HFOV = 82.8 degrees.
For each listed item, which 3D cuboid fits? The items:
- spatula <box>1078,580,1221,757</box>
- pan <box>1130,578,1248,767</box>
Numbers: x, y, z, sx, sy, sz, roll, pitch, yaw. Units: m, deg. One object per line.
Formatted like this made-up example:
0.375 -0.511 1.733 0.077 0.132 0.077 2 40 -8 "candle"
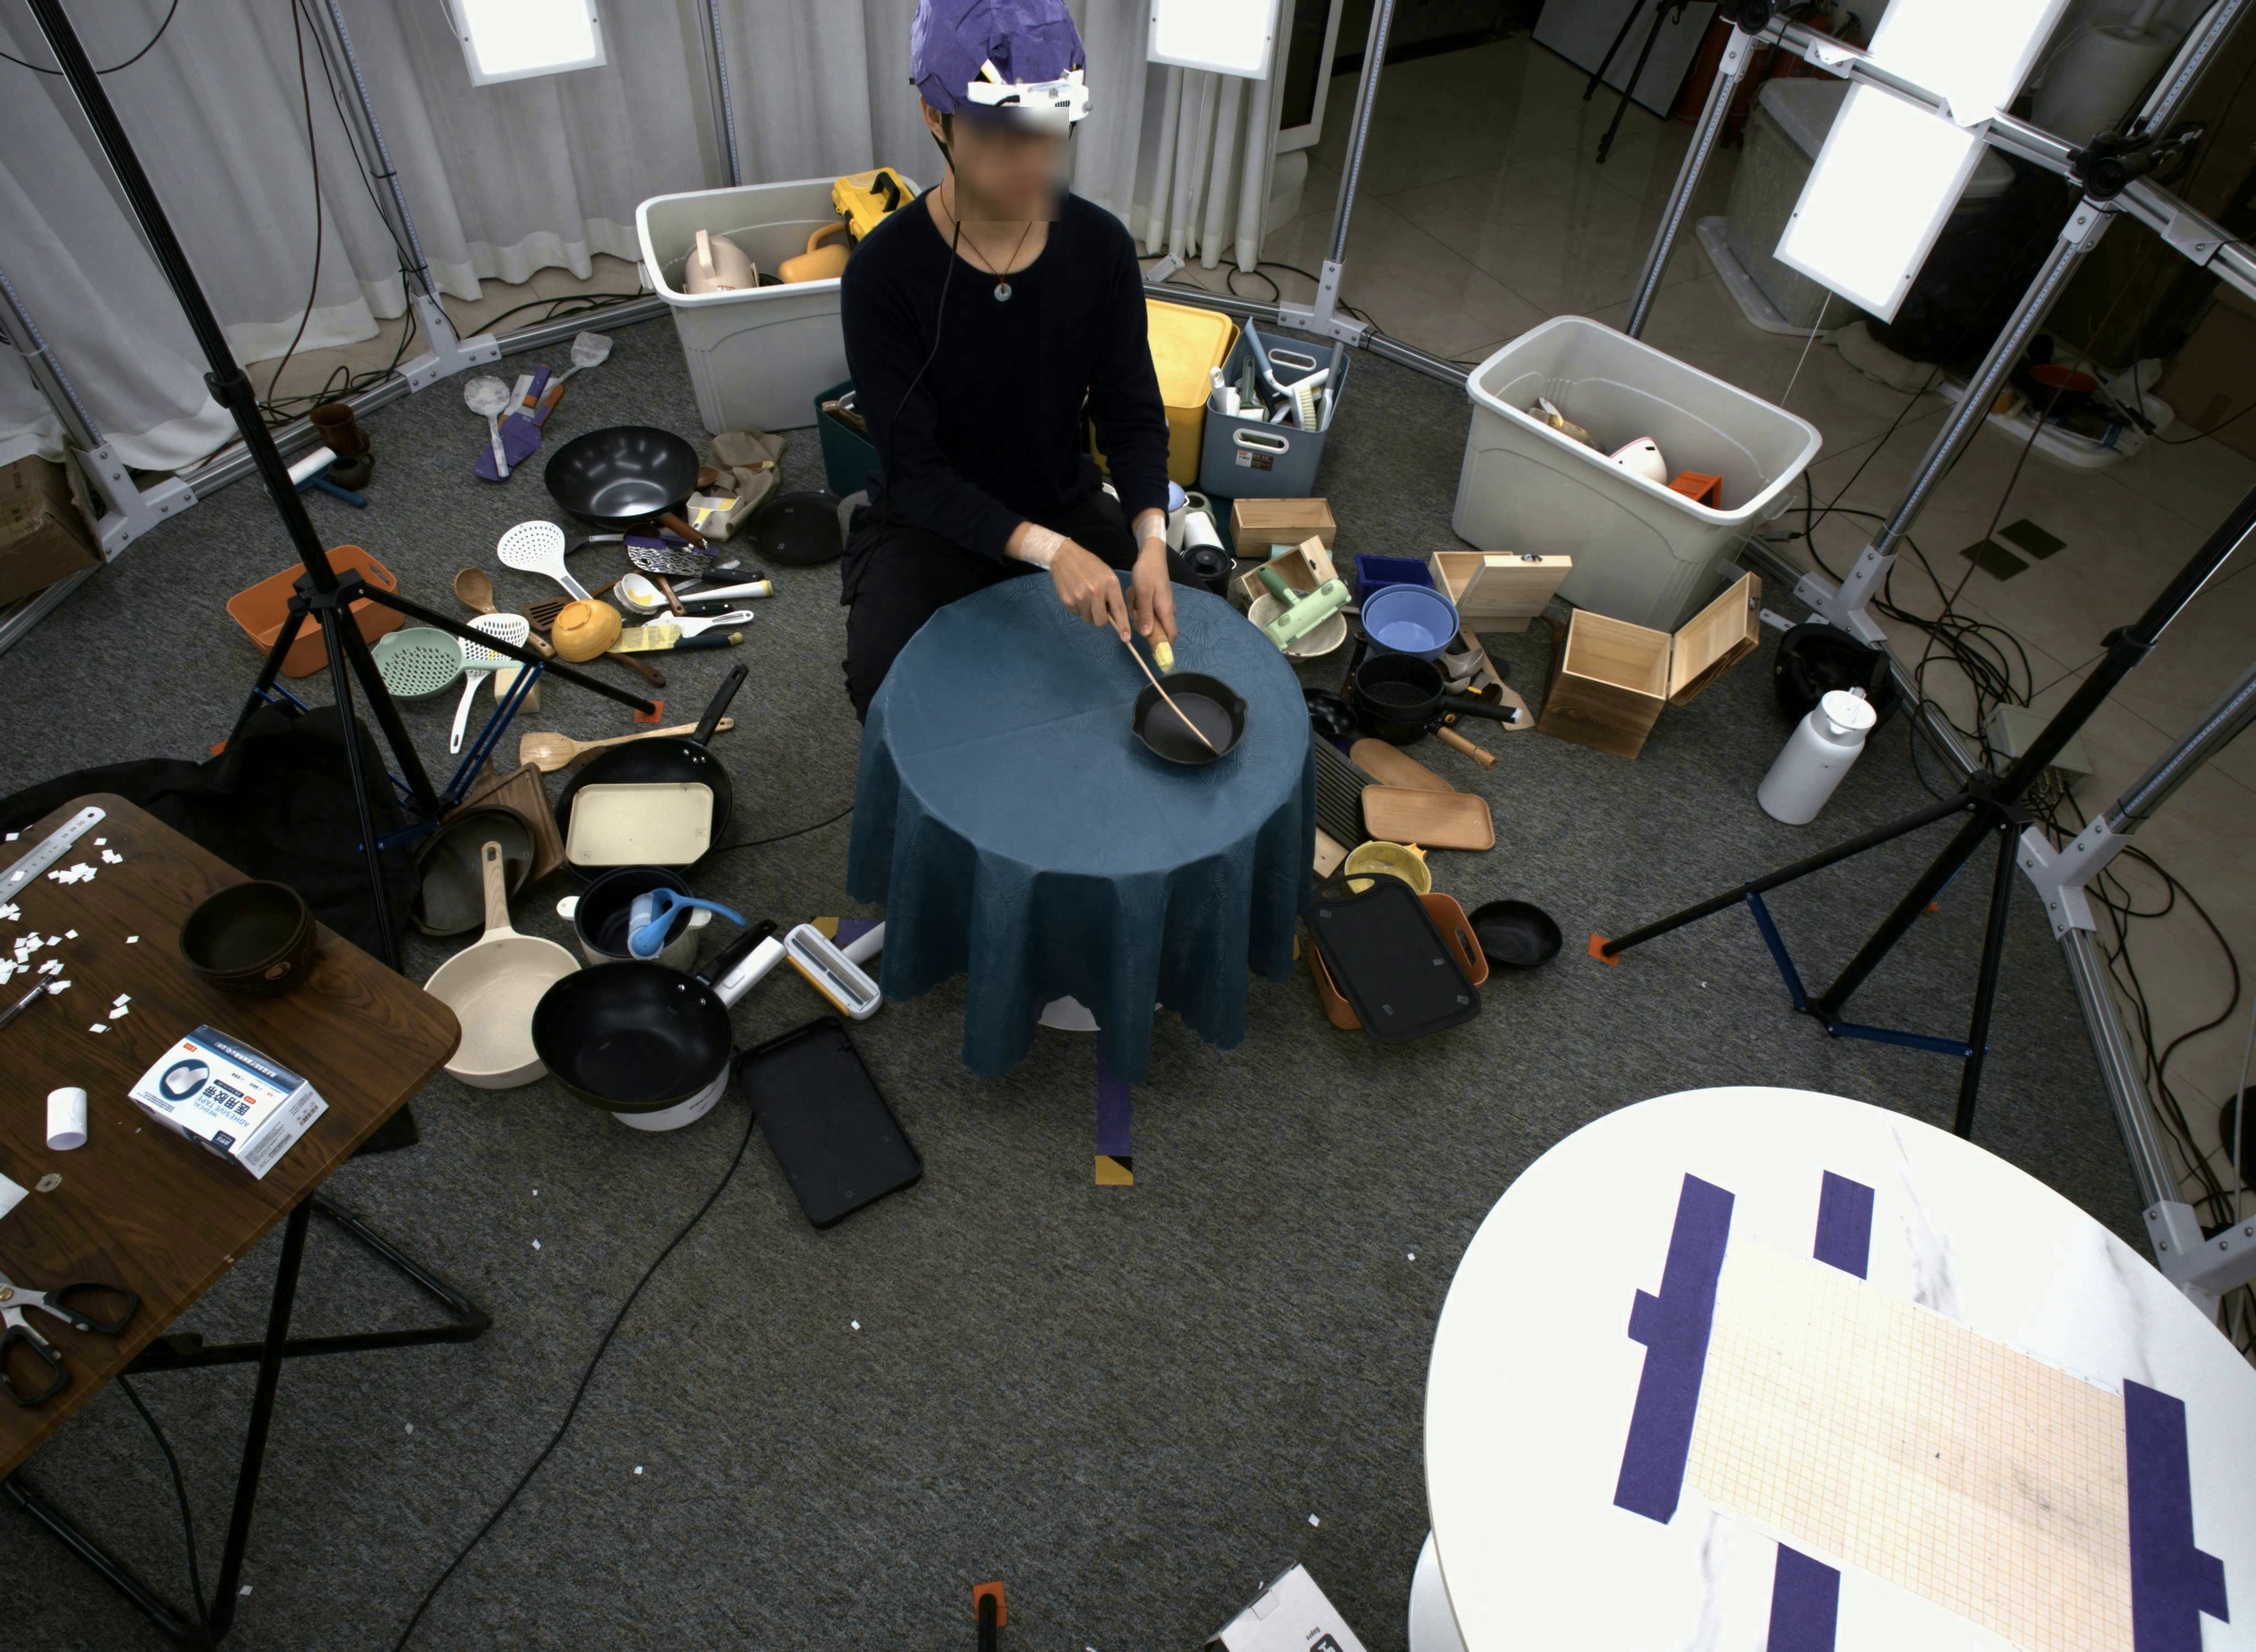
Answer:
0.029 -0.216 1.761 0.016 0.079 0.332 -37 74 5 "spatula"
0.061 -0.217 1.806 0.169 0.048 0.331 -12 59 -10 "pan"
